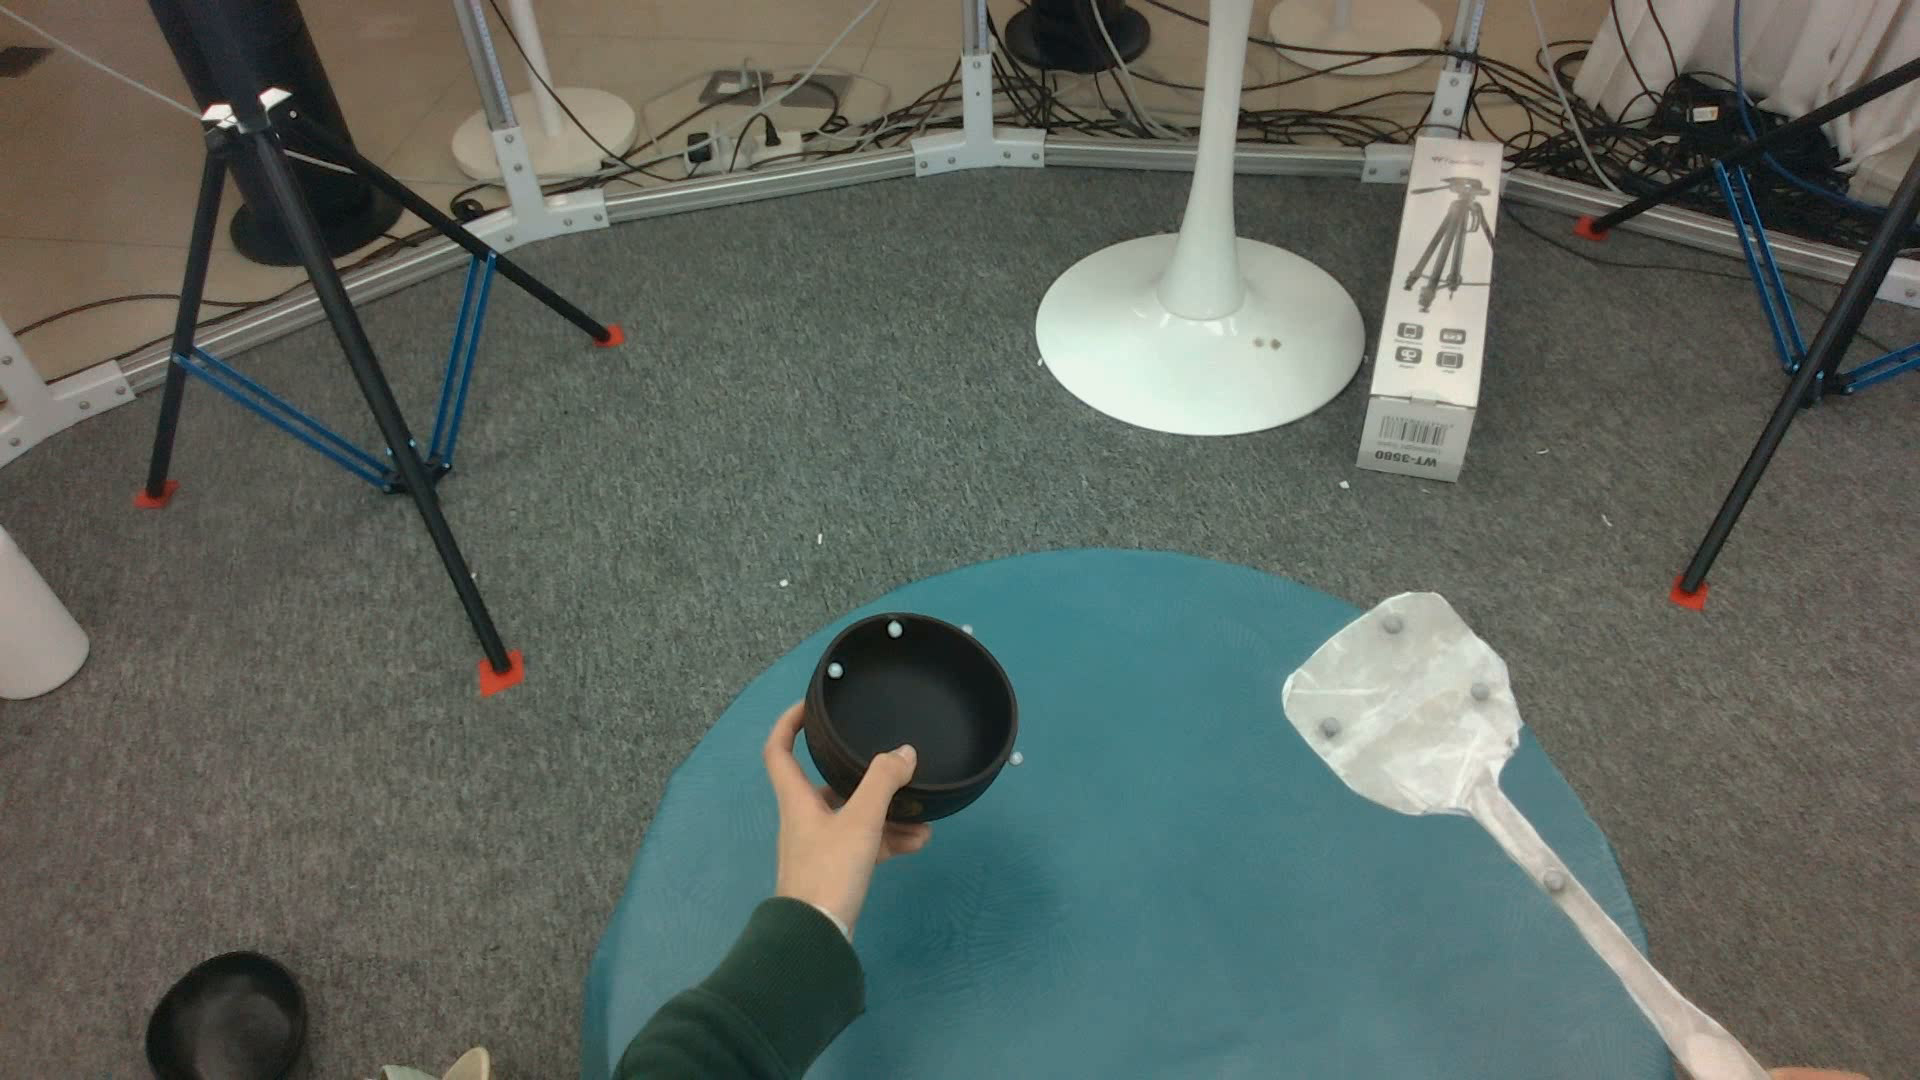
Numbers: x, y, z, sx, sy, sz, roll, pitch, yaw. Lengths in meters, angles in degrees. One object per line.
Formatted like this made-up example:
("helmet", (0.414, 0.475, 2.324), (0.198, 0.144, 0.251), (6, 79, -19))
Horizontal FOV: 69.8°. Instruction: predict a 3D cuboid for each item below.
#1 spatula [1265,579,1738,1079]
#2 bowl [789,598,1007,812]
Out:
("spatula", (0.255, 0.155, 0.582), (0.098, 0.044, 0.366), (-36, 41, 6))
("bowl", (-0.039, 0.098, 0.766), (0.118, 0.069, 0.118), (10, 50, -12))
